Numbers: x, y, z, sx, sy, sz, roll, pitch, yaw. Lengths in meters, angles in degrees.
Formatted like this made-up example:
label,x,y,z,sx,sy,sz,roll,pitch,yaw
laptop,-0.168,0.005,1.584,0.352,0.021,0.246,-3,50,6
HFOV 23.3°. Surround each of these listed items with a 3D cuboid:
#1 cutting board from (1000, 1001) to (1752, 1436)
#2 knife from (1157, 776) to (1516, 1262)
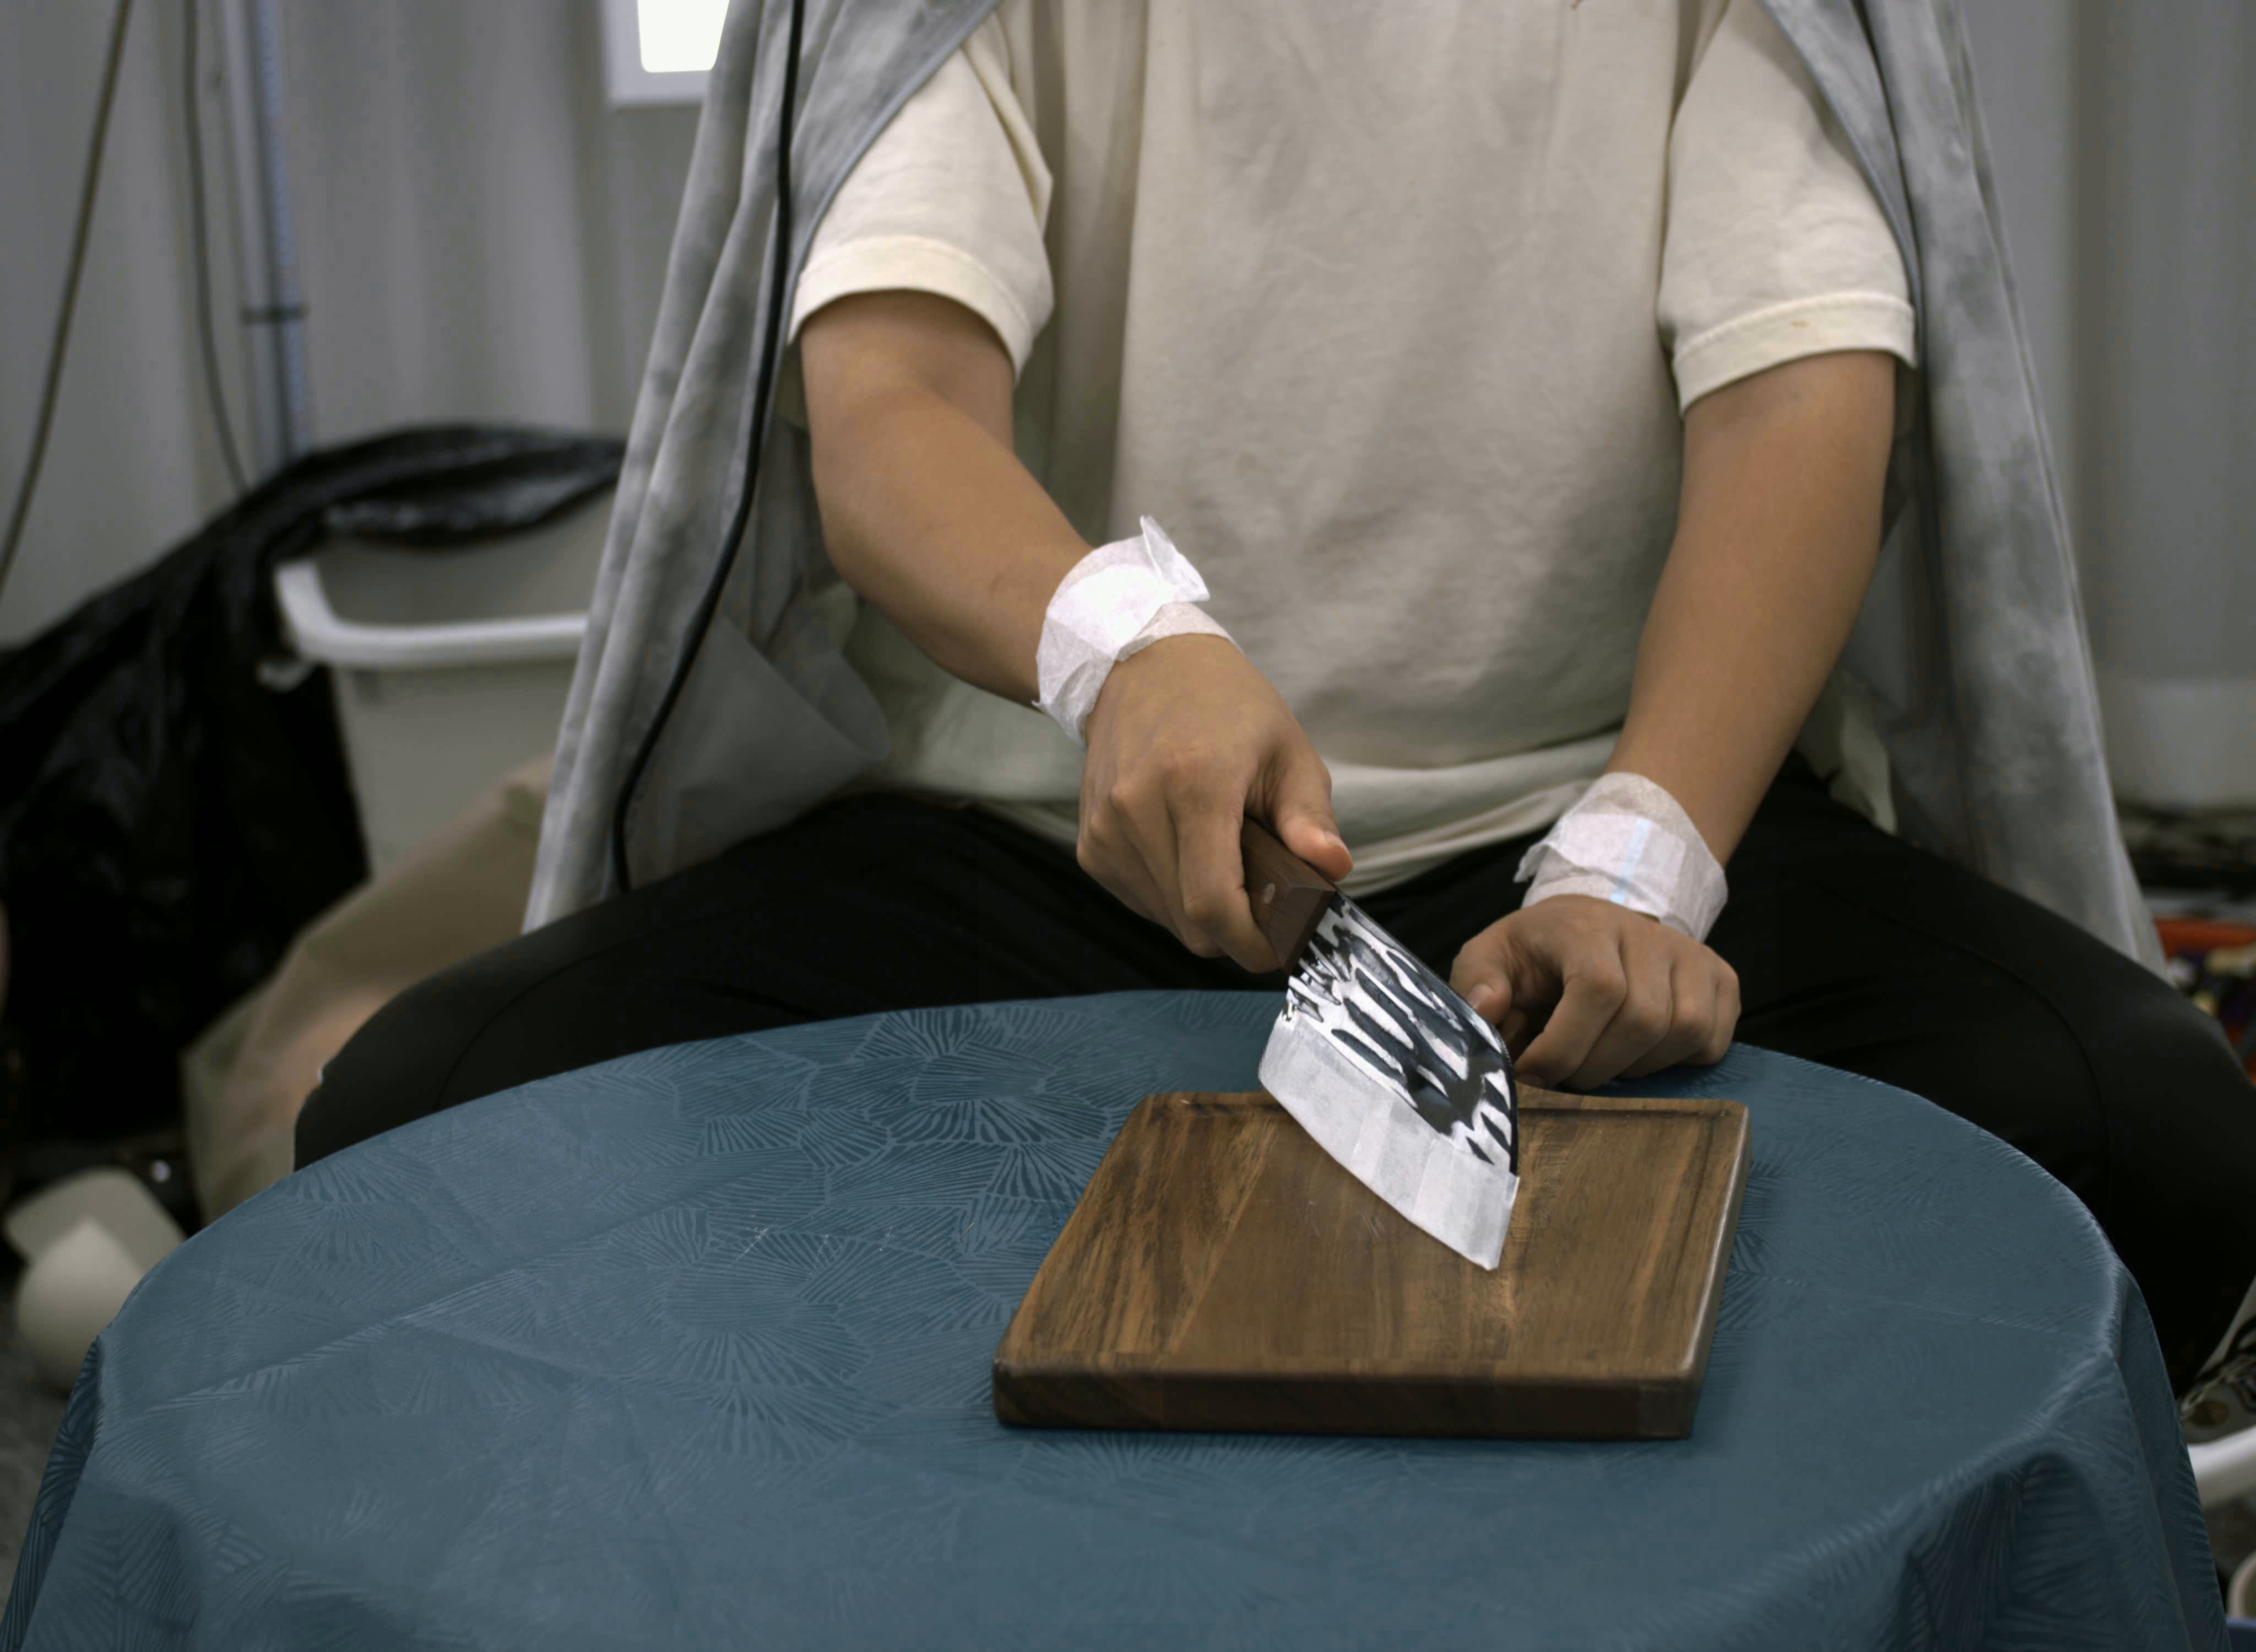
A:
label,x,y,z,sx,sy,sz,roll,pitch,yaw
cutting board,0.088,0.113,1.668,0.201,0.023,0.354,0,15,11
knife,0.062,0.056,1.710,0.024,0.068,0.303,19,12,-26
